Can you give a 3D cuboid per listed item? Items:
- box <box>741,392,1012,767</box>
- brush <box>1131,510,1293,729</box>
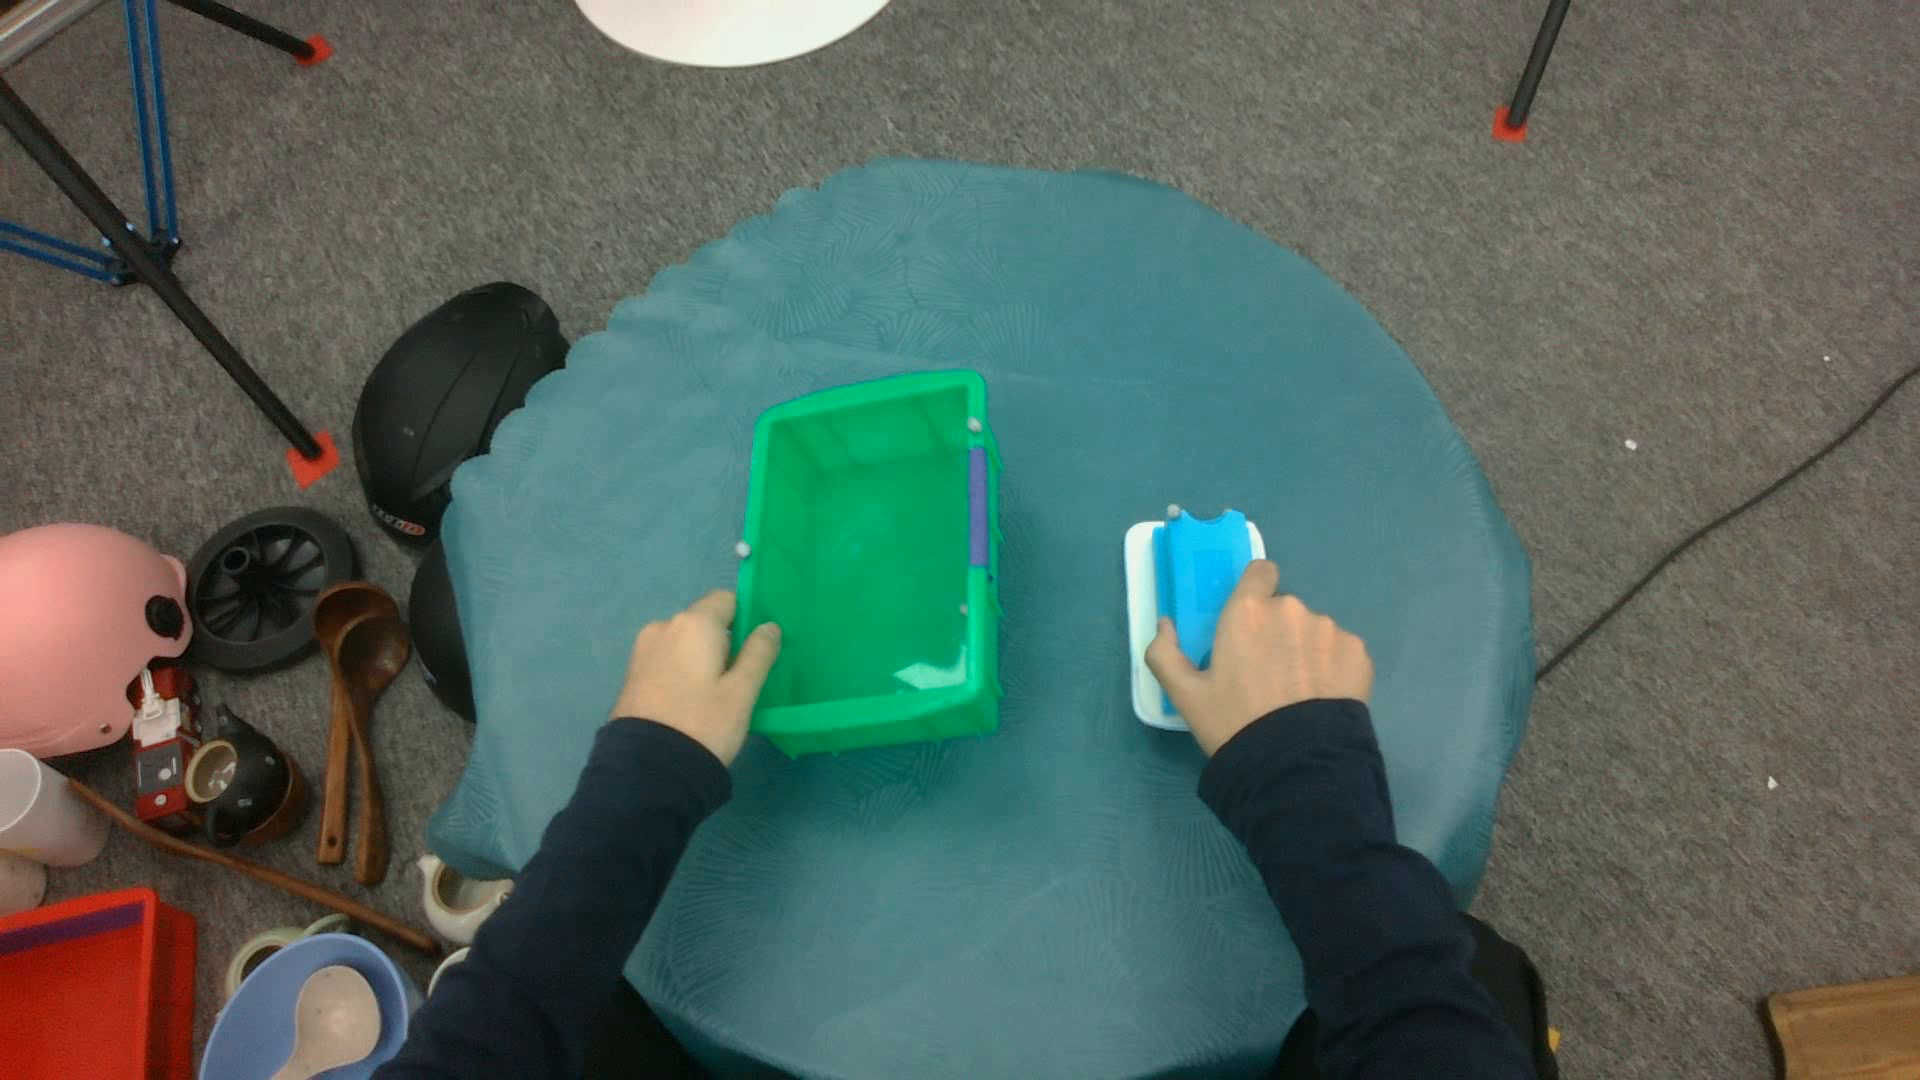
[{"bbox_3d":[-0.039,0.024,0.763,0.138,0.065,0.211,-8,57,11],"label":"box"},{"bbox_3d":[0.136,0.036,0.753,0.084,0.055,0.144,3,44,2],"label":"brush"}]
